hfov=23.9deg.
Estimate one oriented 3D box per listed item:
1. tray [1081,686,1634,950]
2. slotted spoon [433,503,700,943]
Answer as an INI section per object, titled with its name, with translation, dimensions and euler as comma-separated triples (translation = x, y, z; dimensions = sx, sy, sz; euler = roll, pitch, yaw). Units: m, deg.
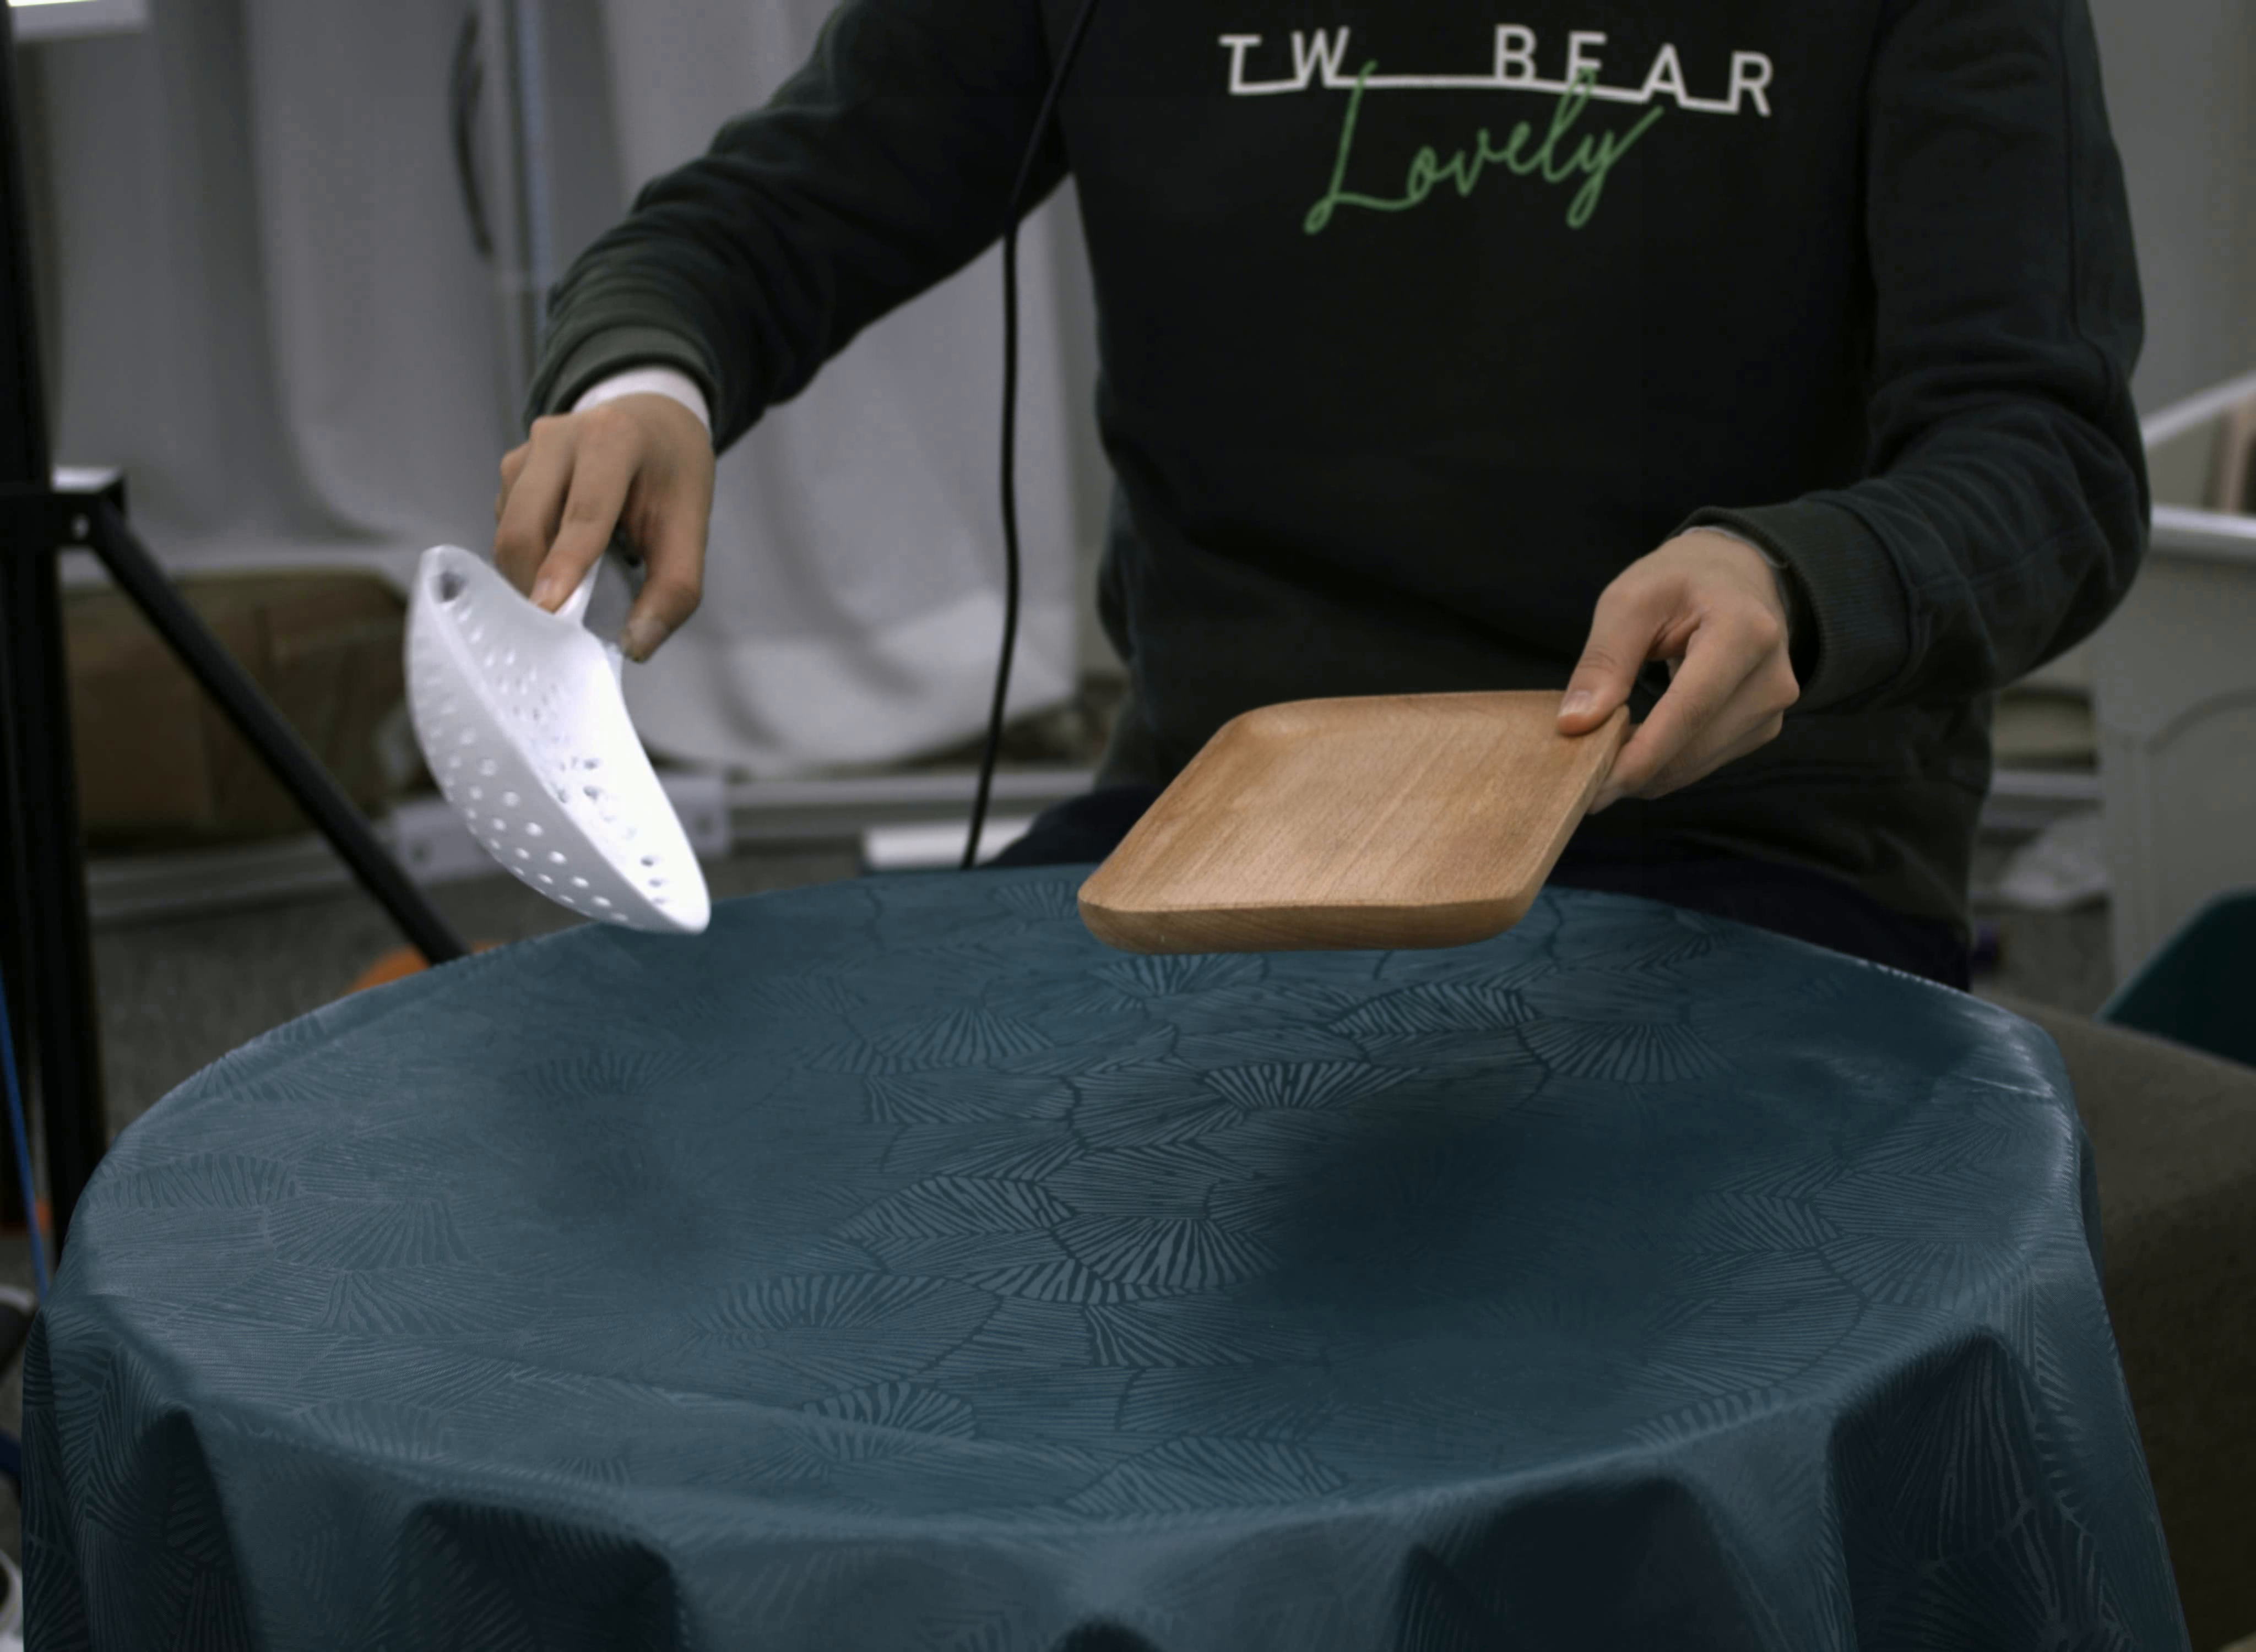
[tray]
translation = 0.071, -0.004, 1.539
dimensions = 0.131, 0.023, 0.249
euler = 0, 14, 14
[slotted spoon]
translation = -0.169, -0.052, 1.666
dimensions = 0.046, 0.135, 0.350
euler = -27, 15, 10
